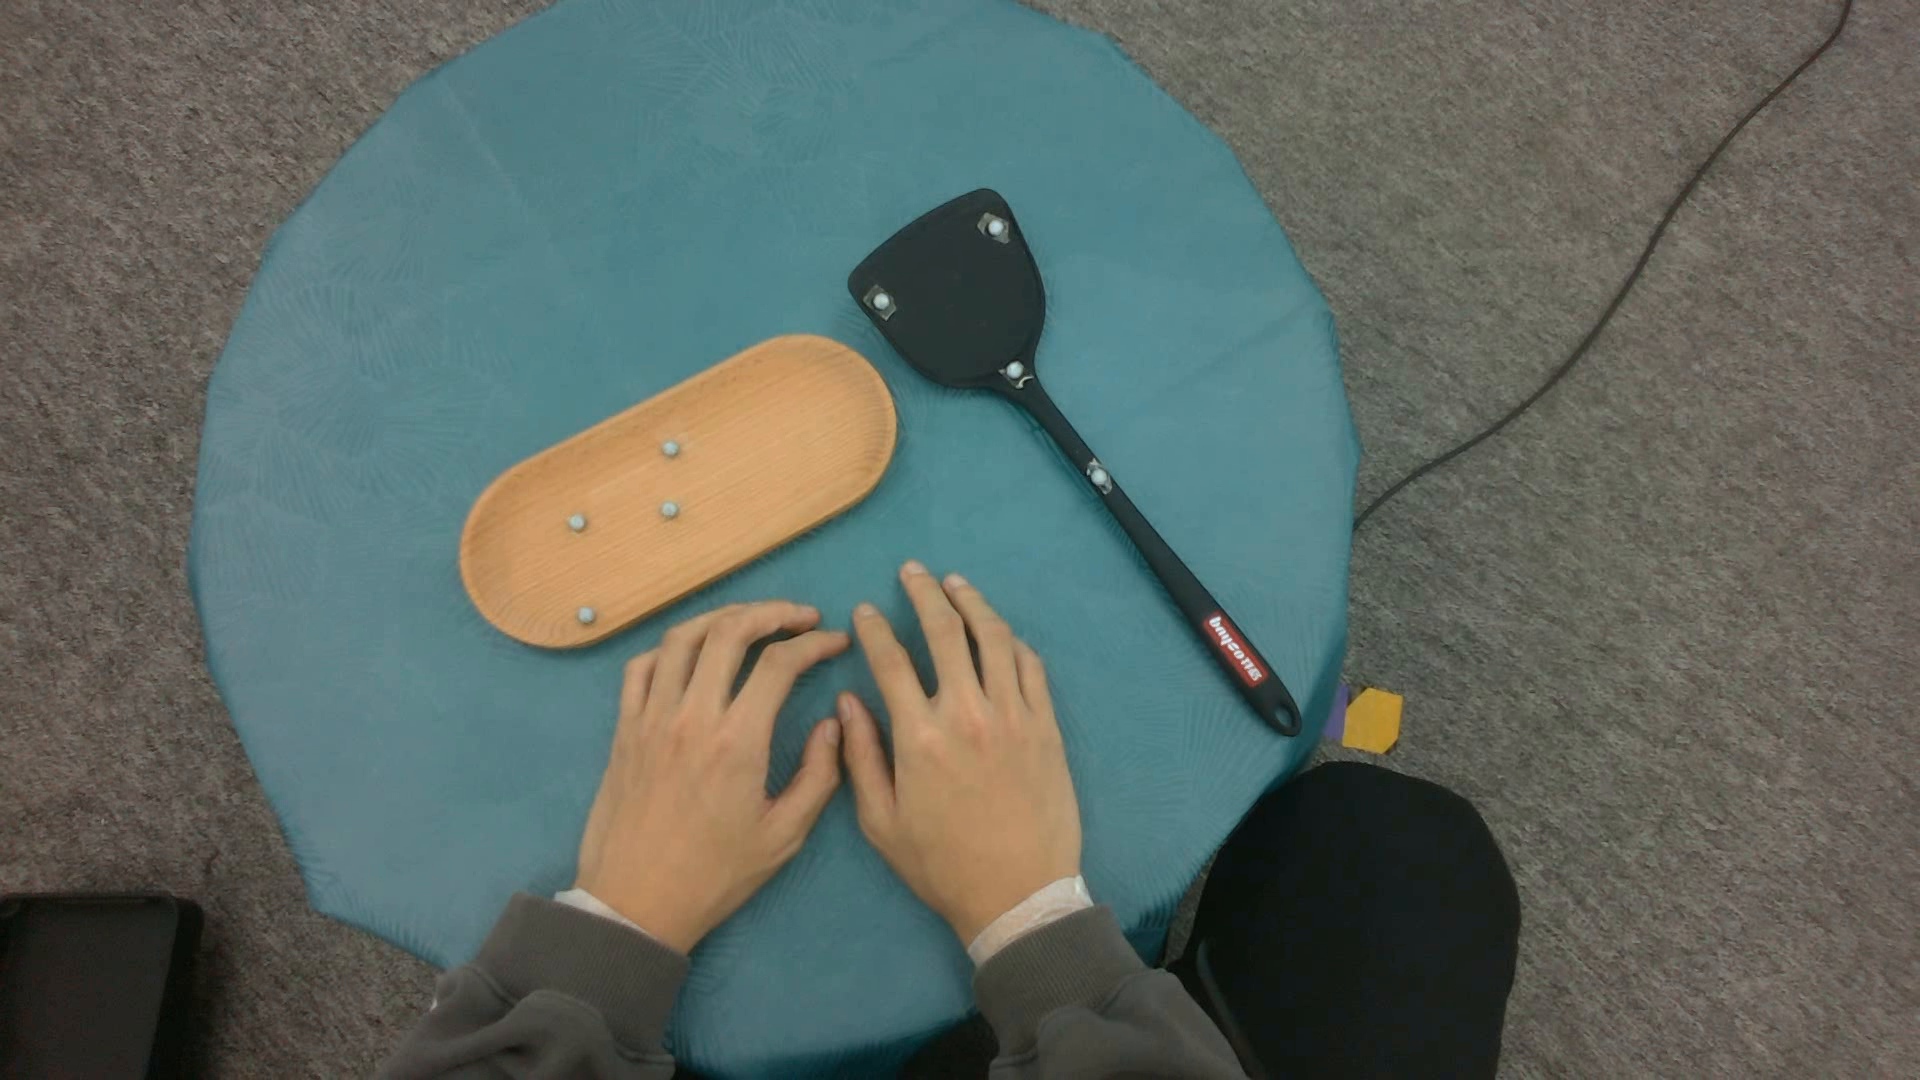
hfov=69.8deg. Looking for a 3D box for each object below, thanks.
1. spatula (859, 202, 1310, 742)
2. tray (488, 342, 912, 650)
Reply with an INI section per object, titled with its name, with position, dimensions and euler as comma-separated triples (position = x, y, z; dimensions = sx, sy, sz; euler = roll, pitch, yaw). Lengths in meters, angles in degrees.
[spatula]
position = 0.076, -0.030, 0.711
dimensions = 0.100, 0.040, 0.326
euler = -35, 77, -9
[tray]
position = -0.133, -0.024, 0.717
dimensions = 0.231, 0.020, 0.102
euler = -29, 76, -10
